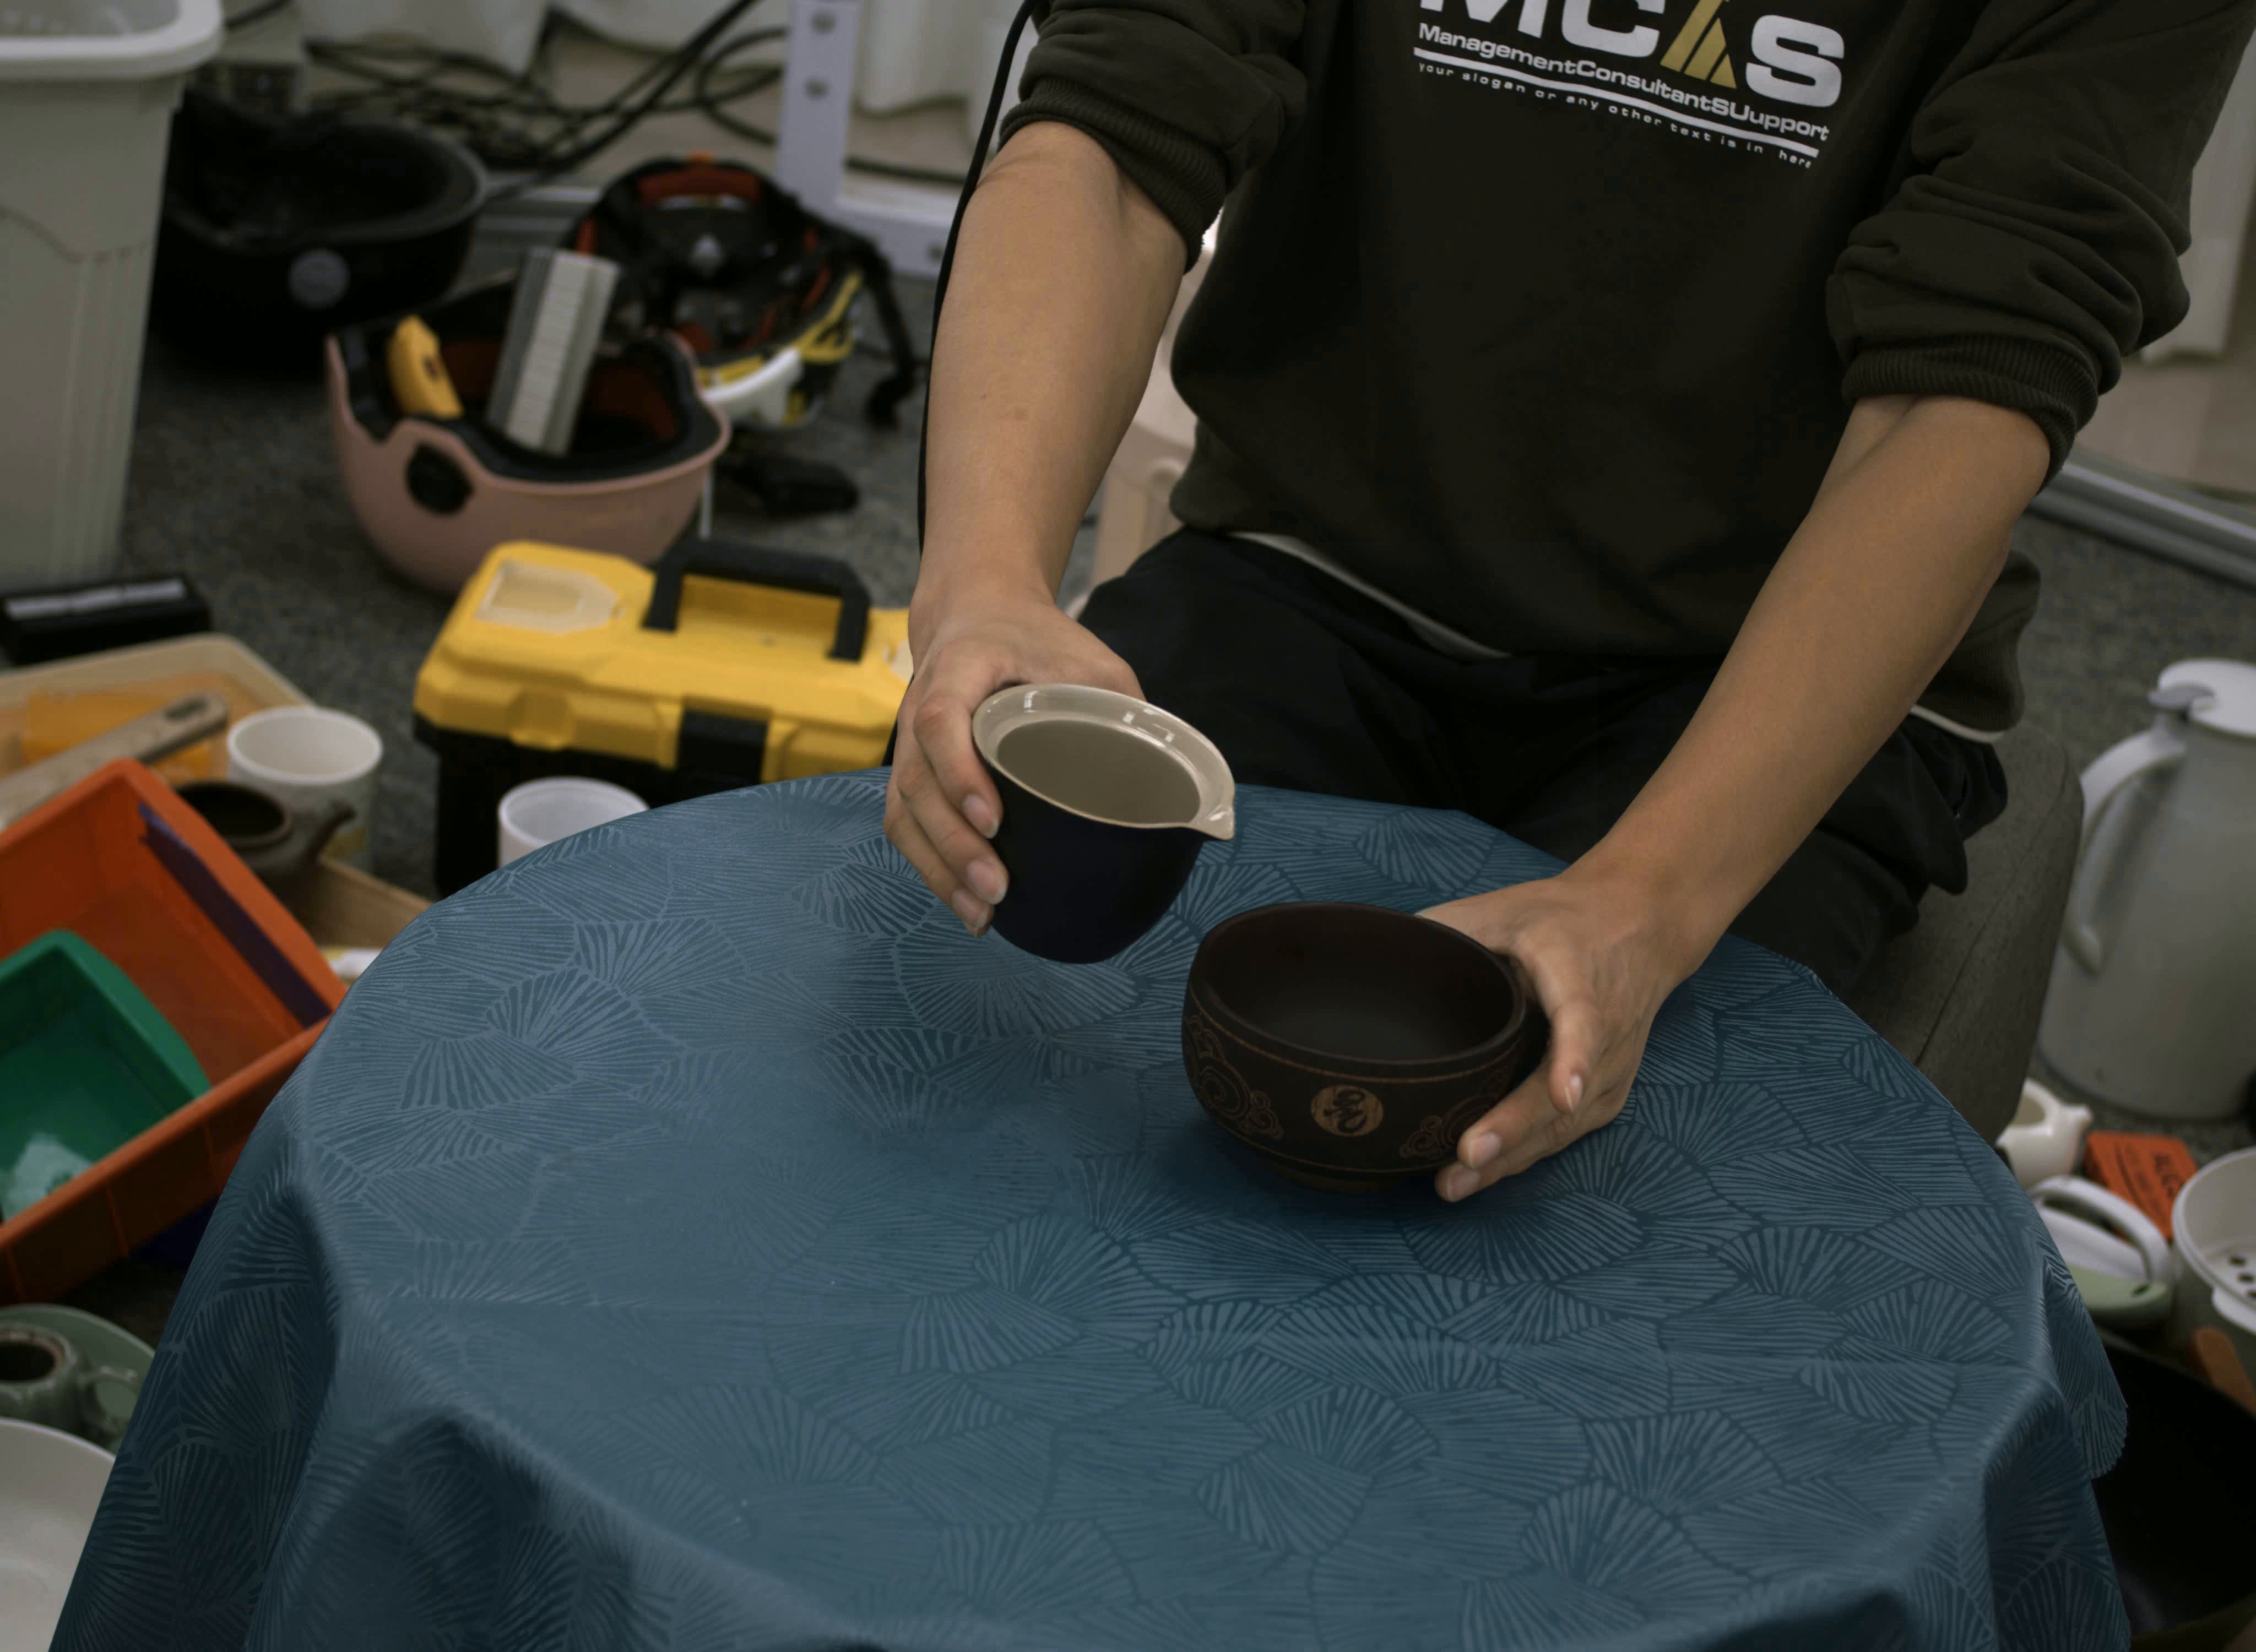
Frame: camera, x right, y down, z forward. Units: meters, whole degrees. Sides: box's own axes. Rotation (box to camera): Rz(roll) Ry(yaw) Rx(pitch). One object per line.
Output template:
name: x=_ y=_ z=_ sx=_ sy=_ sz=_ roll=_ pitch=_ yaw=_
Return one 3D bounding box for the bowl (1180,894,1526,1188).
bowl: x=0.075 y=0.081 z=1.830 sx=0.117 sy=0.069 sz=0.119 roll=4 pitch=28 yaw=-3

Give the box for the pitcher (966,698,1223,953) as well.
pitcher: x=-0.013 y=0.004 z=1.840 sx=0.096 sy=0.071 sz=0.083 roll=34 pitch=31 yaw=30
